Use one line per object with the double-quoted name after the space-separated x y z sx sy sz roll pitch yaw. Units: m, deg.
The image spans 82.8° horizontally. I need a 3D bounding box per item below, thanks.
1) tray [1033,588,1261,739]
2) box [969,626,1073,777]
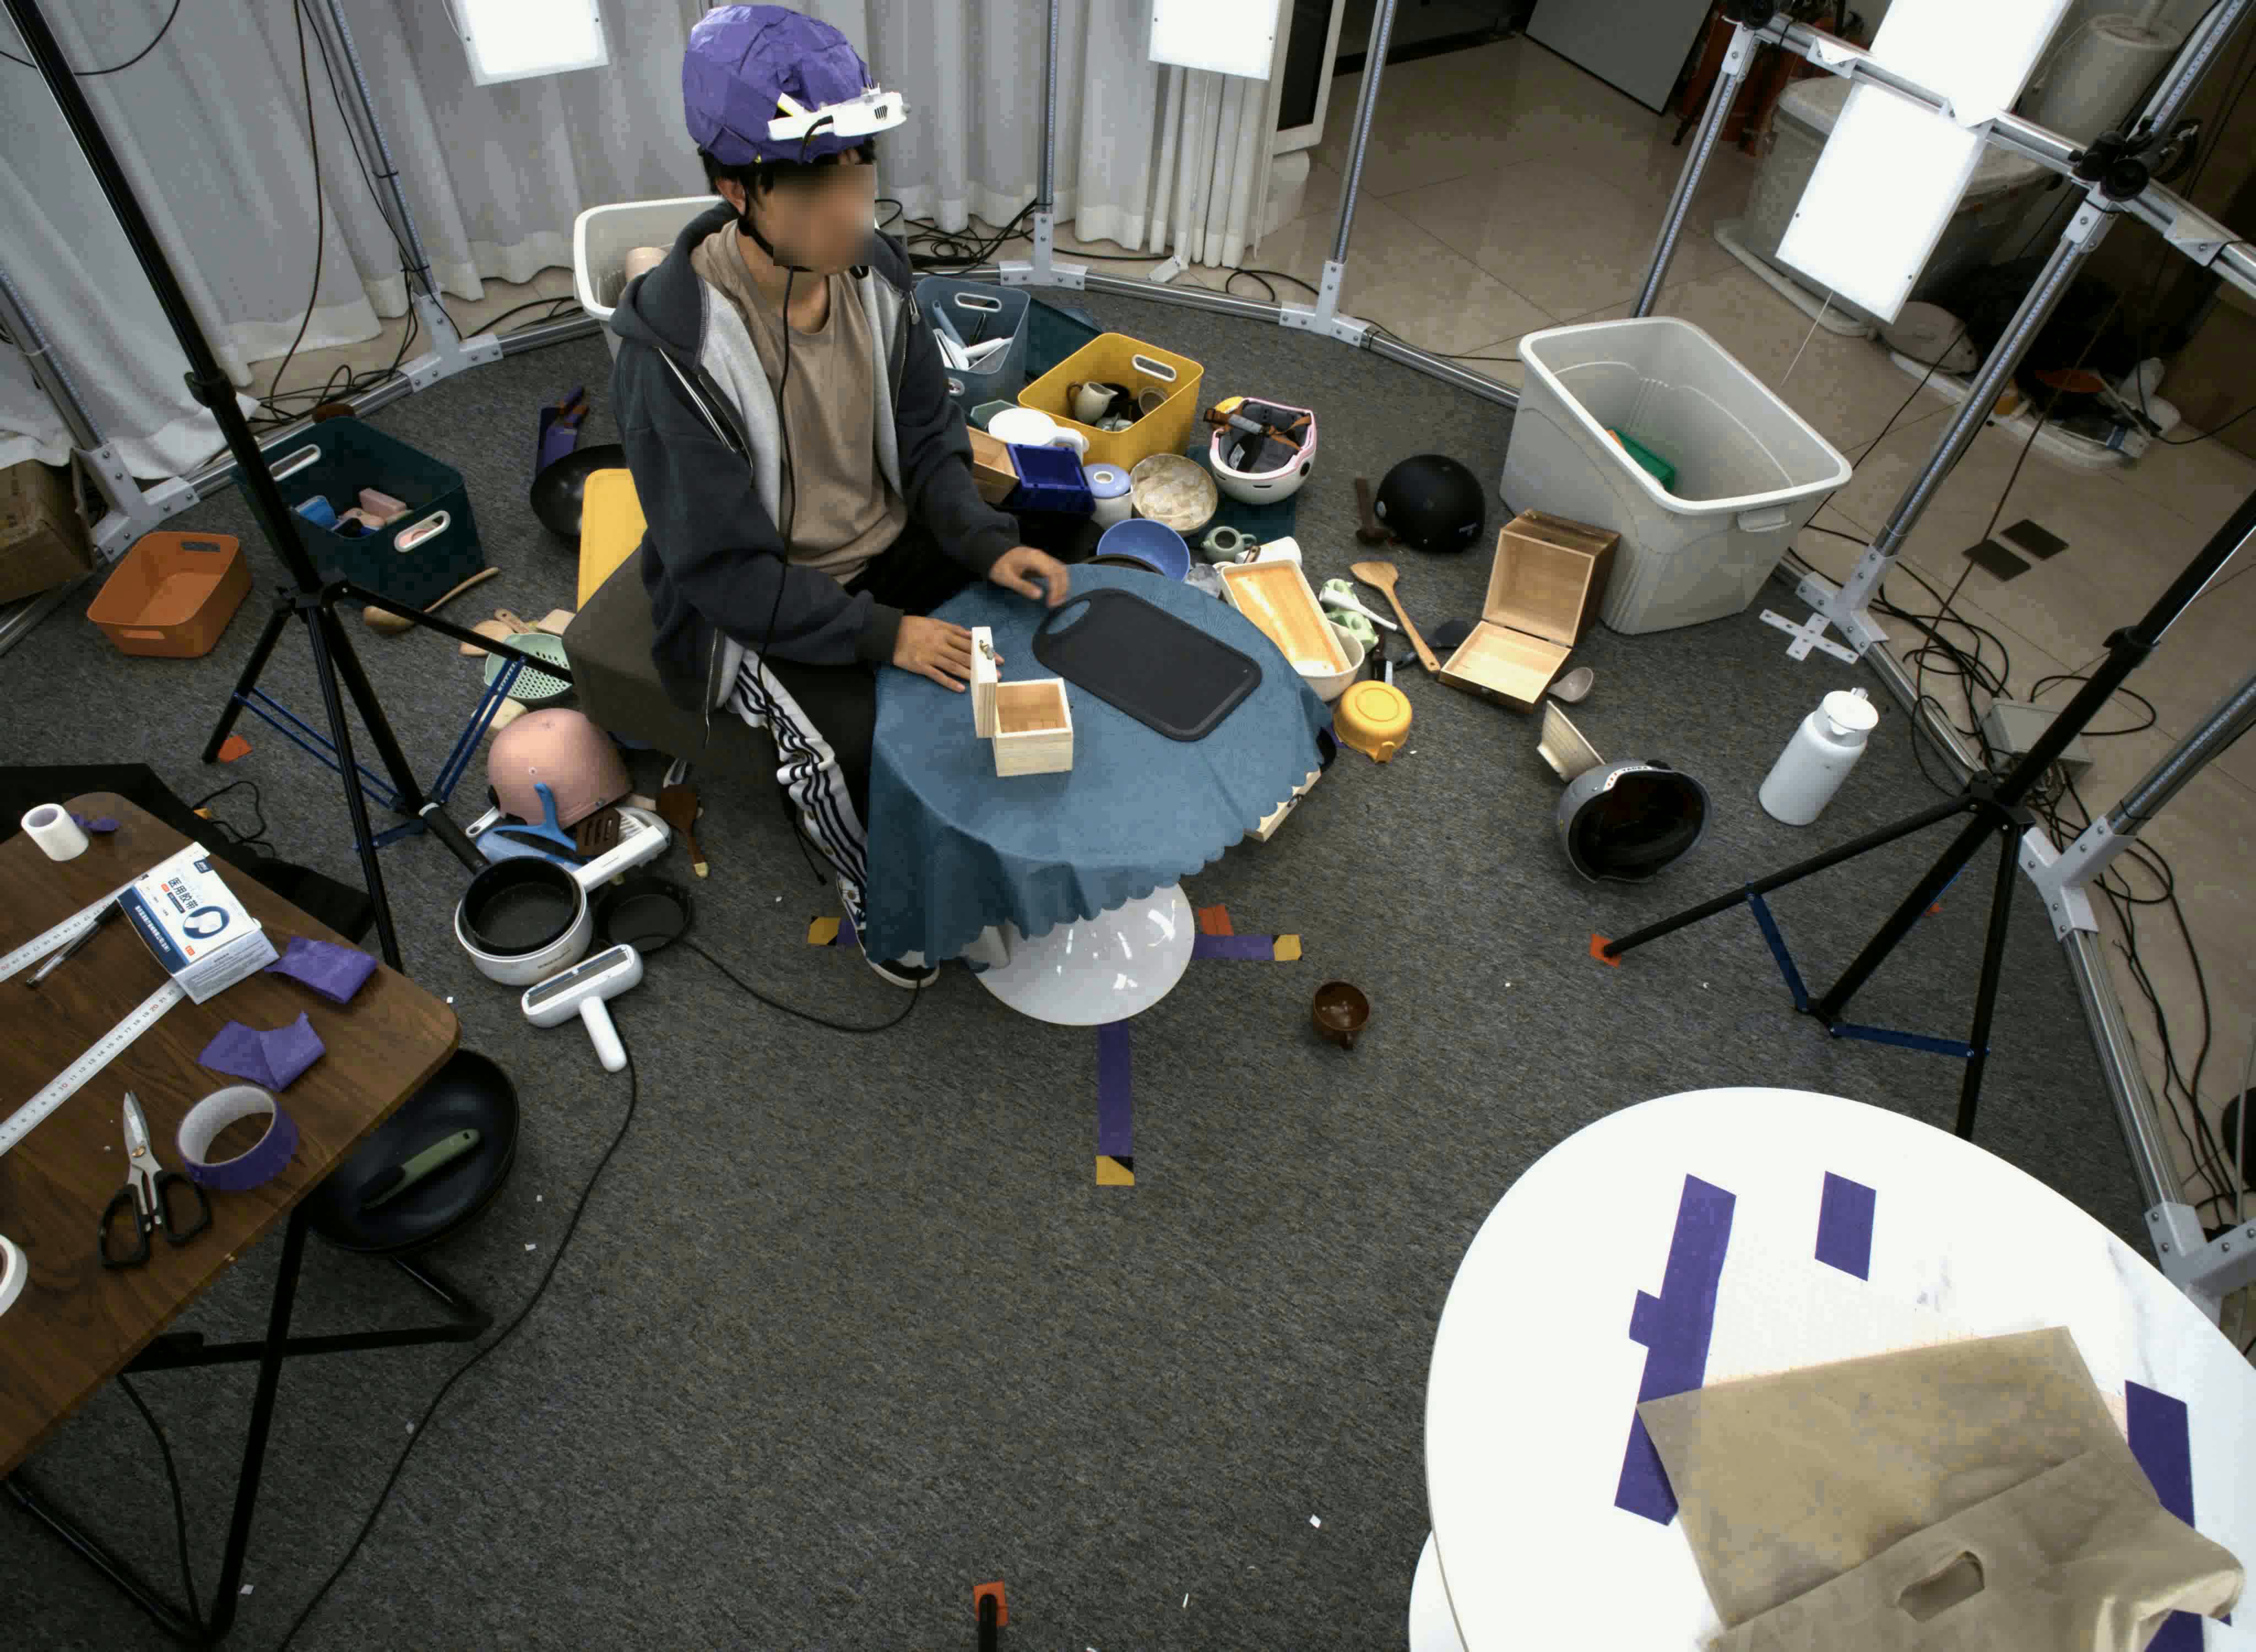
0.020 -0.247 1.879 0.329 0.009 0.213 32 54 22 "tray"
-0.138 -0.165 1.681 0.134 0.180 0.105 -6 51 -8 "box"
